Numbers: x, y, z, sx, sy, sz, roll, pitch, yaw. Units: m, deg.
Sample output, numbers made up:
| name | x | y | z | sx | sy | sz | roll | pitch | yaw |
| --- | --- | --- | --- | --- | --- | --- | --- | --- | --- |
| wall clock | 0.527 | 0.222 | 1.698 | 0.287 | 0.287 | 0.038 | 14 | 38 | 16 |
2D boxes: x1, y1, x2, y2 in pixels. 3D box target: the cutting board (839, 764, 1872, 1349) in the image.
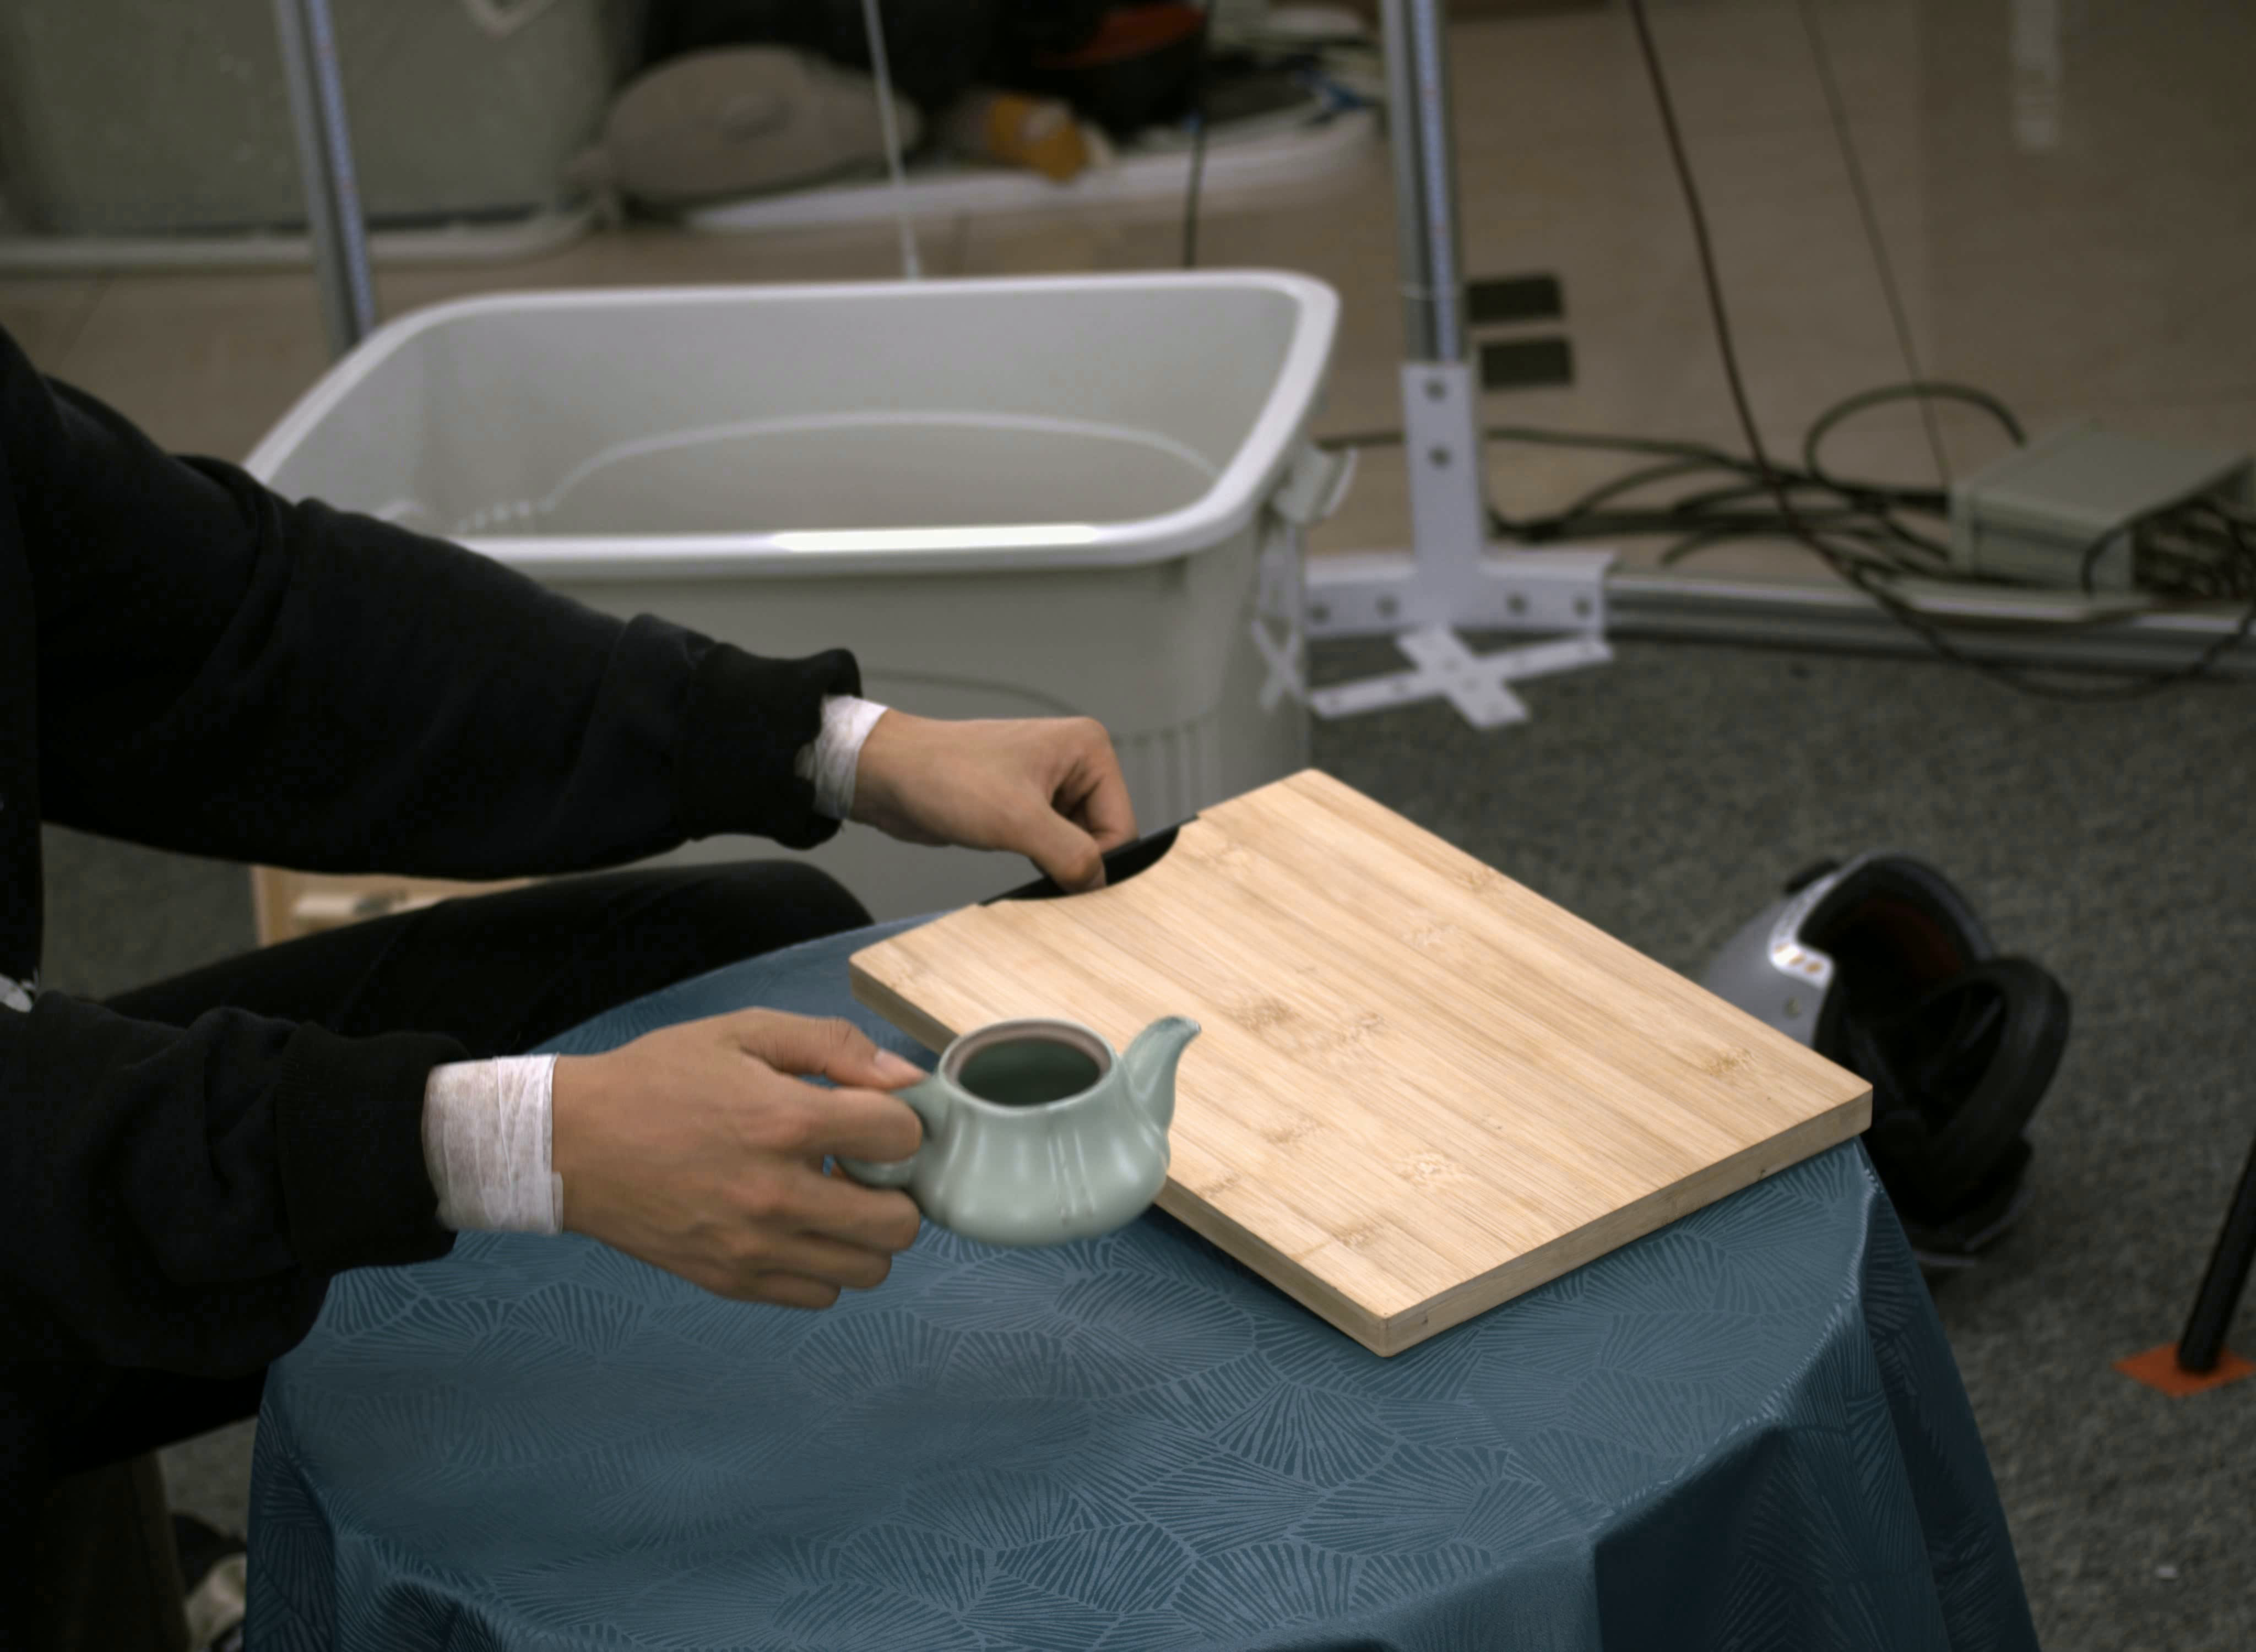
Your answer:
| name | x | y | z | sx | sy | sz | roll | pitch | yaw |
| --- | --- | --- | --- | --- | --- | --- | --- | --- | --- |
| cutting board | 0.082 | 0.082 | 2.197 | 0.249 | 0.024 | 0.345 | -23 | 35 | -31 |

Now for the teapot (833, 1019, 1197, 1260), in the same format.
| name | x | y | z | sx | sy | sz | roll | pitch | yaw |
| --- | --- | --- | --- | --- | --- | --- | --- | --- | --- |
| teapot | -0.038 | 0.109 | 1.977 | 0.136 | 0.062 | 0.095 | -13 | 33 | -19 |
